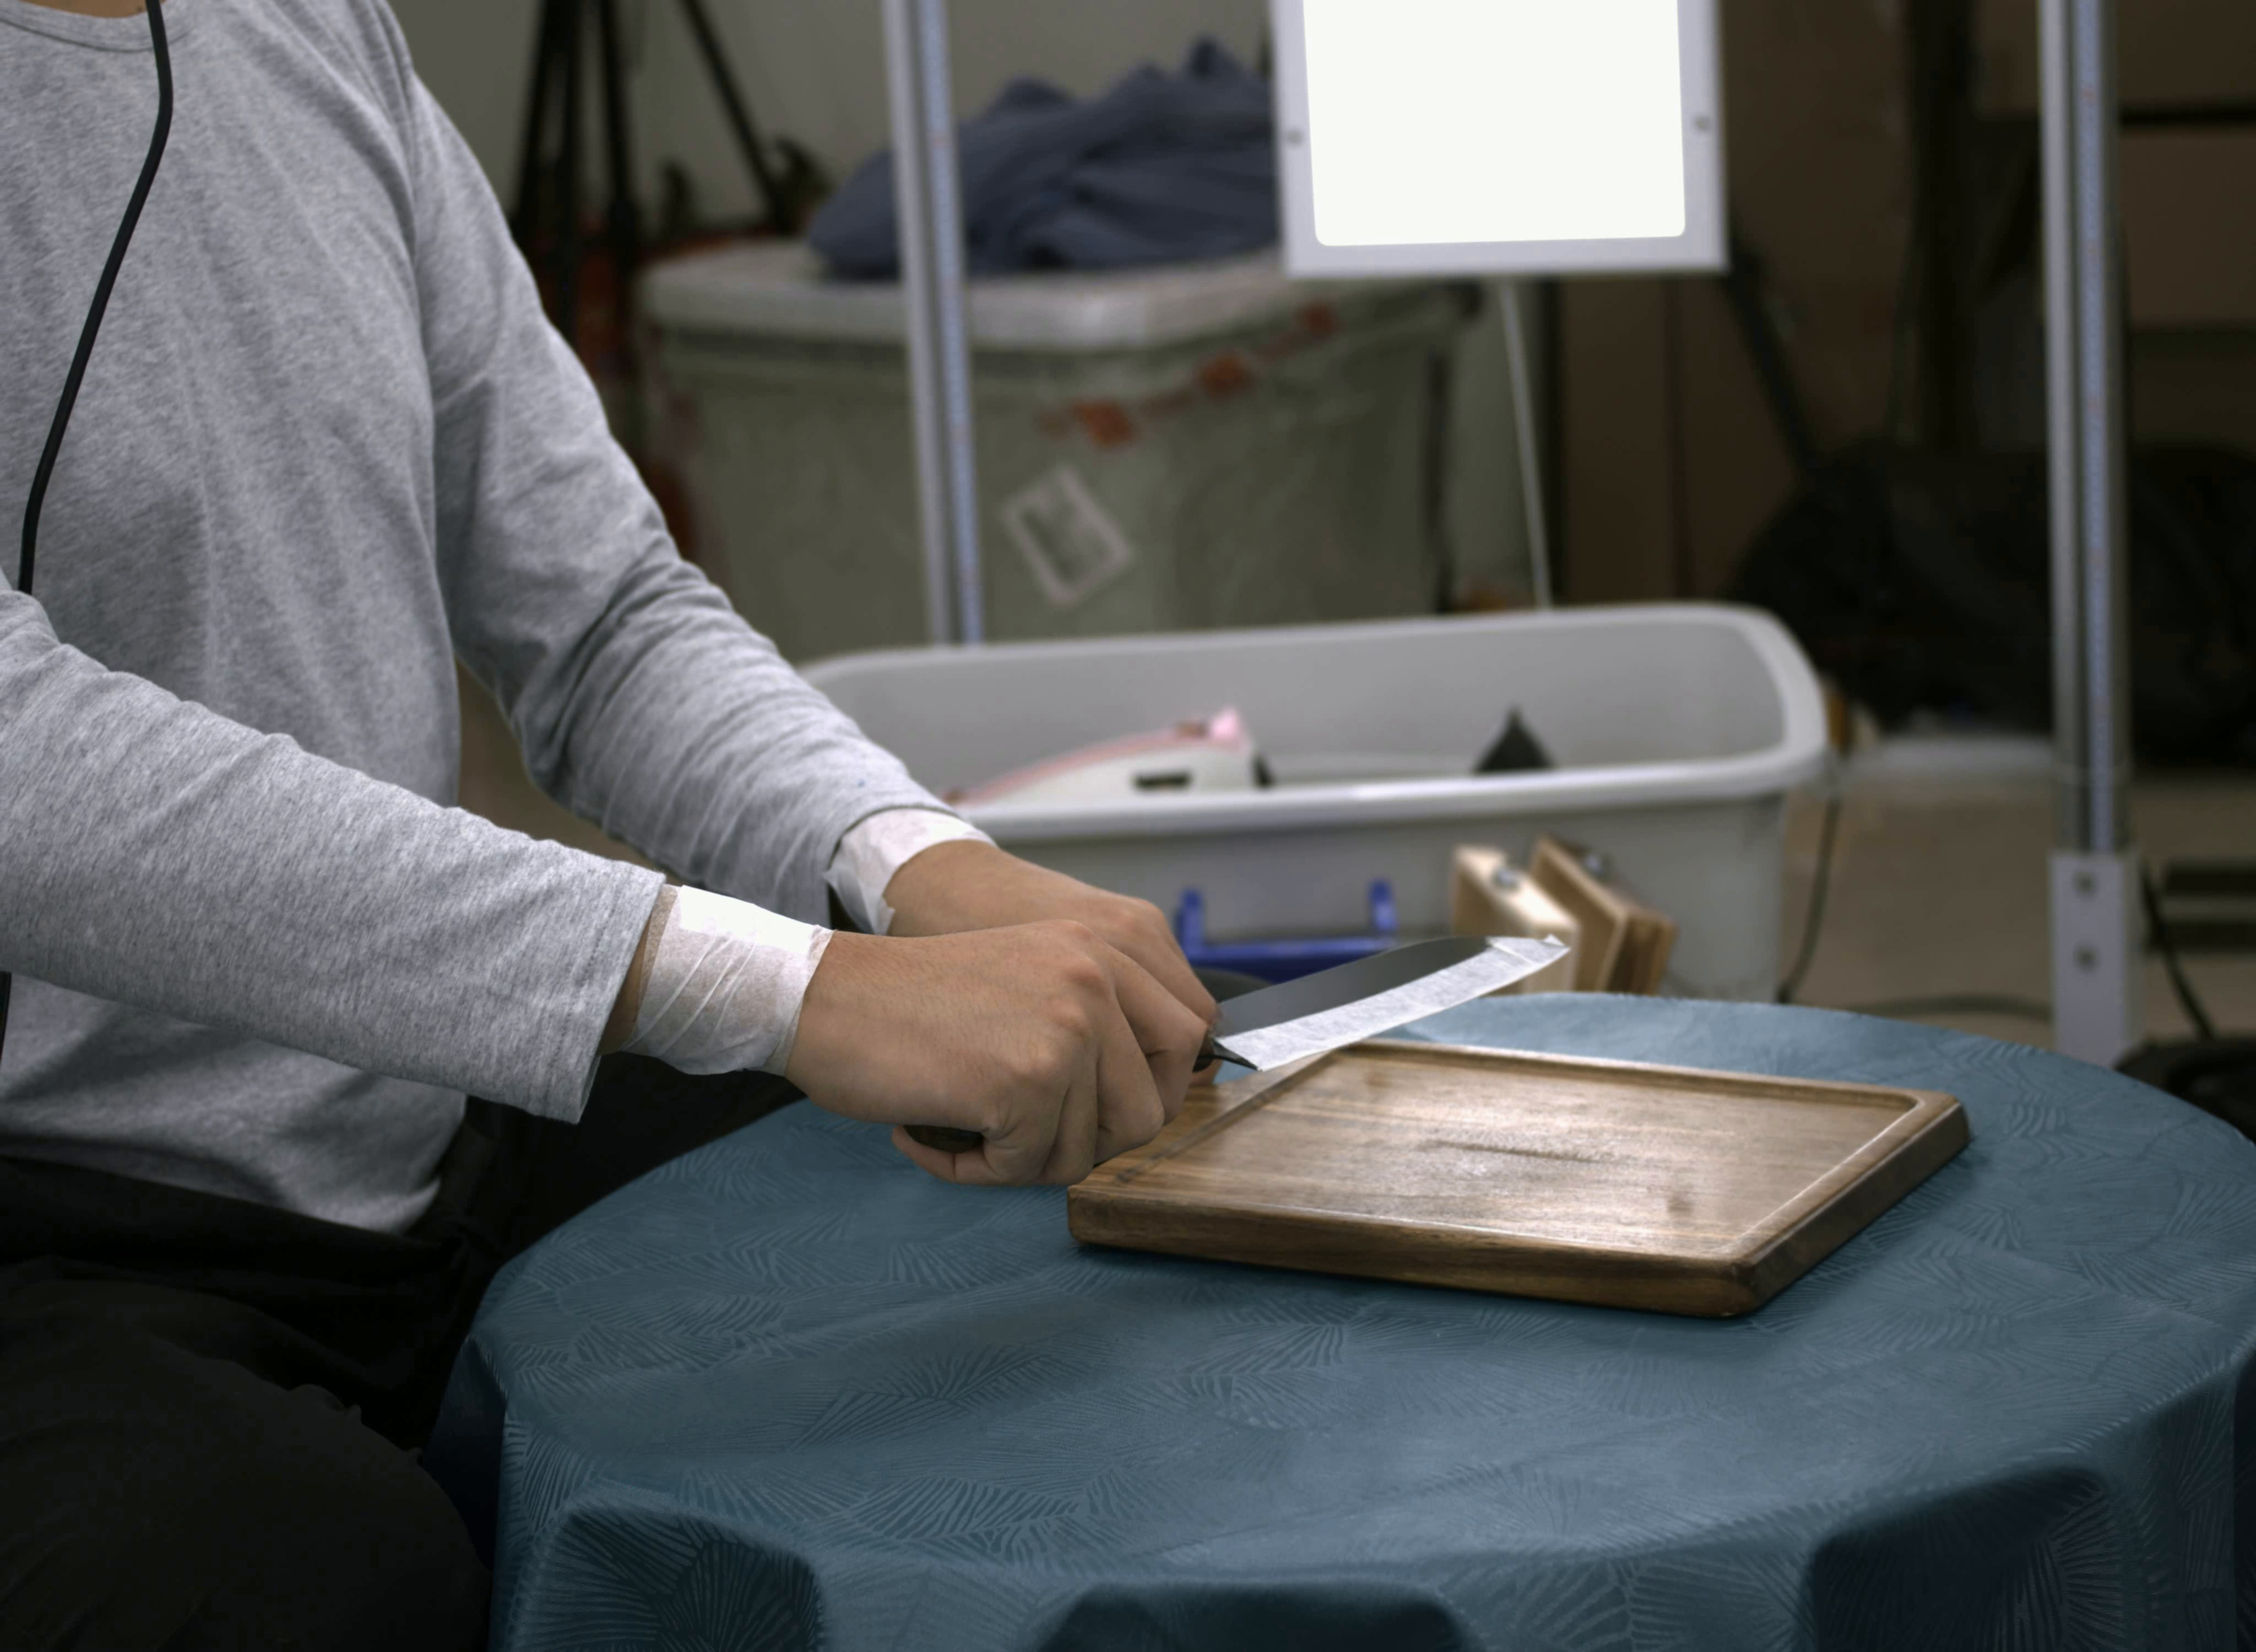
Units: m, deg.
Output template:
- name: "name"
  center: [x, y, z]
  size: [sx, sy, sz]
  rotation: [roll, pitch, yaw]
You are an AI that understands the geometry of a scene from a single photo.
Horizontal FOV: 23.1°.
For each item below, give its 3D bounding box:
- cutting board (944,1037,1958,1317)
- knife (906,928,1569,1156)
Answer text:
- name: "cutting board"
  center: [0.090, 0.112, 1.882]
  size: [0.359, 0.023, 0.196]
  rotation: [4, 16, 31]
- name: "knife"
  center: [0.042, 0.066, 1.793]
  size: [0.282, 0.020, 0.051]
  rotation: [-14, 32, -39]
